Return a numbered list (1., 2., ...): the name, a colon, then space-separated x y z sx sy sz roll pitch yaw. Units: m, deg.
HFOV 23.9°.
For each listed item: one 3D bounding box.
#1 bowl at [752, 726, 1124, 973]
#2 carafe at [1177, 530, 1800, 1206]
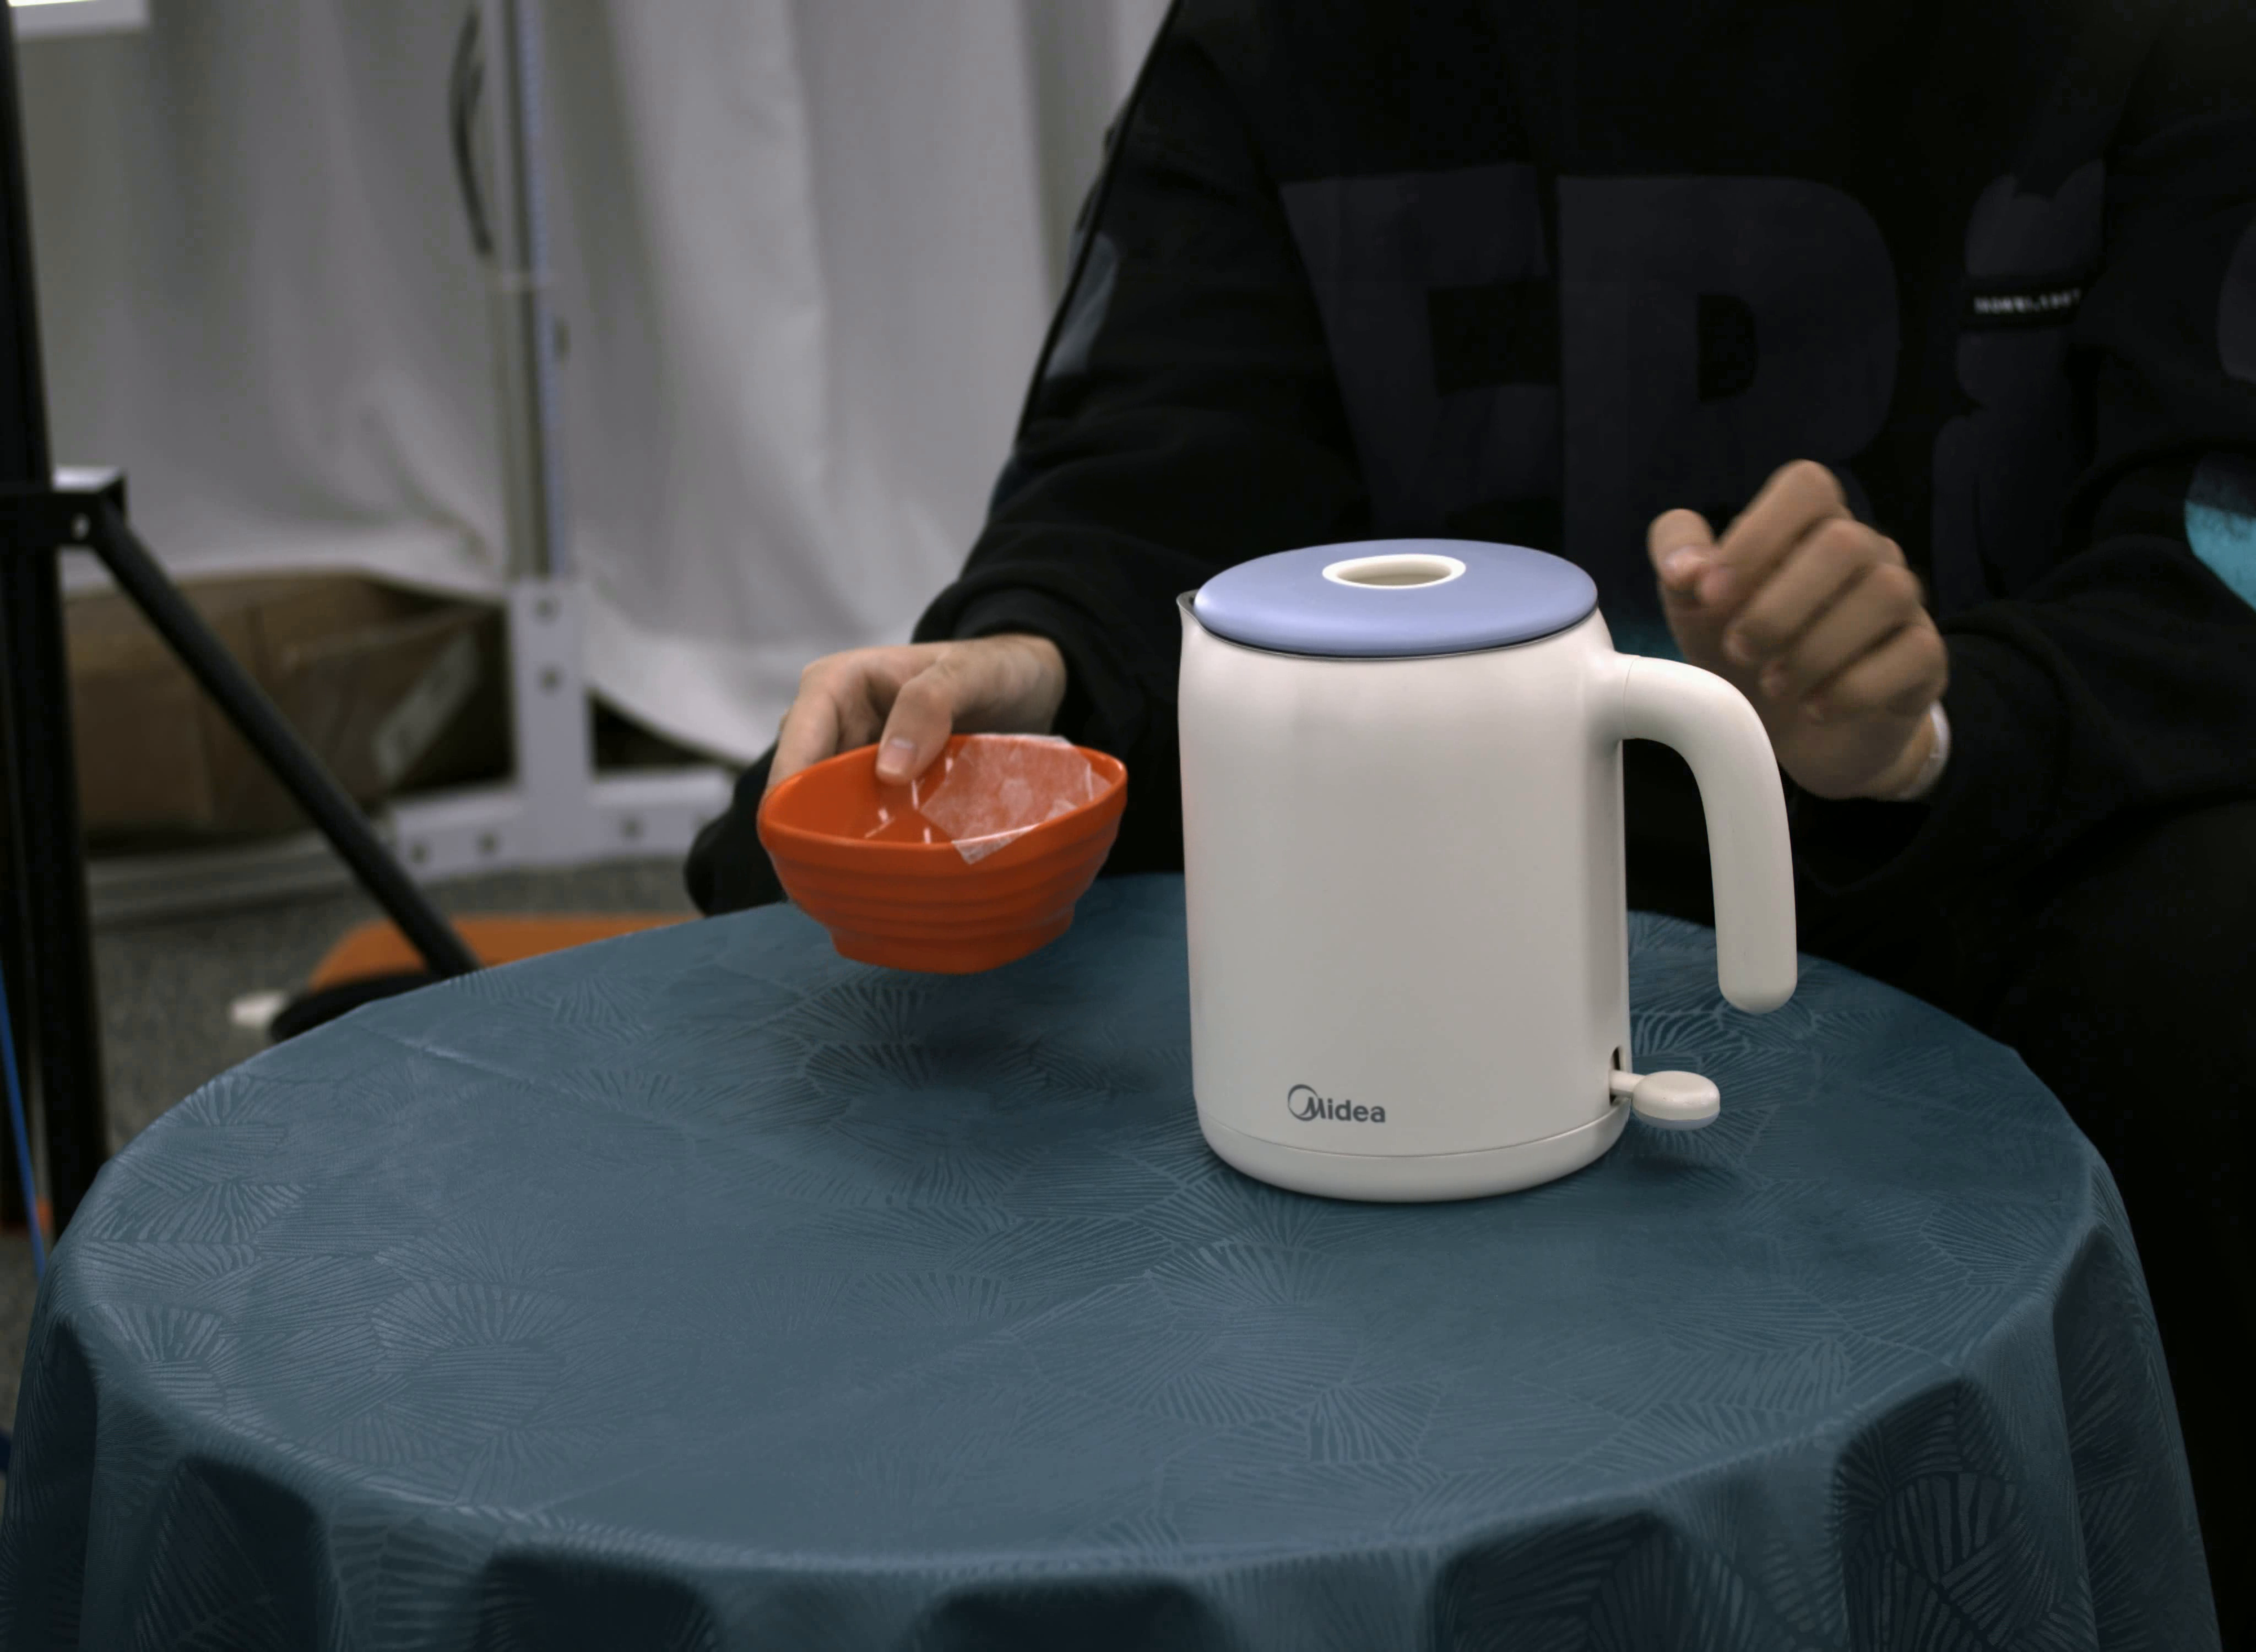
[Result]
1. bowl: -0.056 0.010 1.680 0.118 0.051 0.119 -9 18 1
2. carafe: 0.105 0.014 1.561 0.193 0.182 0.130 6 19 22
